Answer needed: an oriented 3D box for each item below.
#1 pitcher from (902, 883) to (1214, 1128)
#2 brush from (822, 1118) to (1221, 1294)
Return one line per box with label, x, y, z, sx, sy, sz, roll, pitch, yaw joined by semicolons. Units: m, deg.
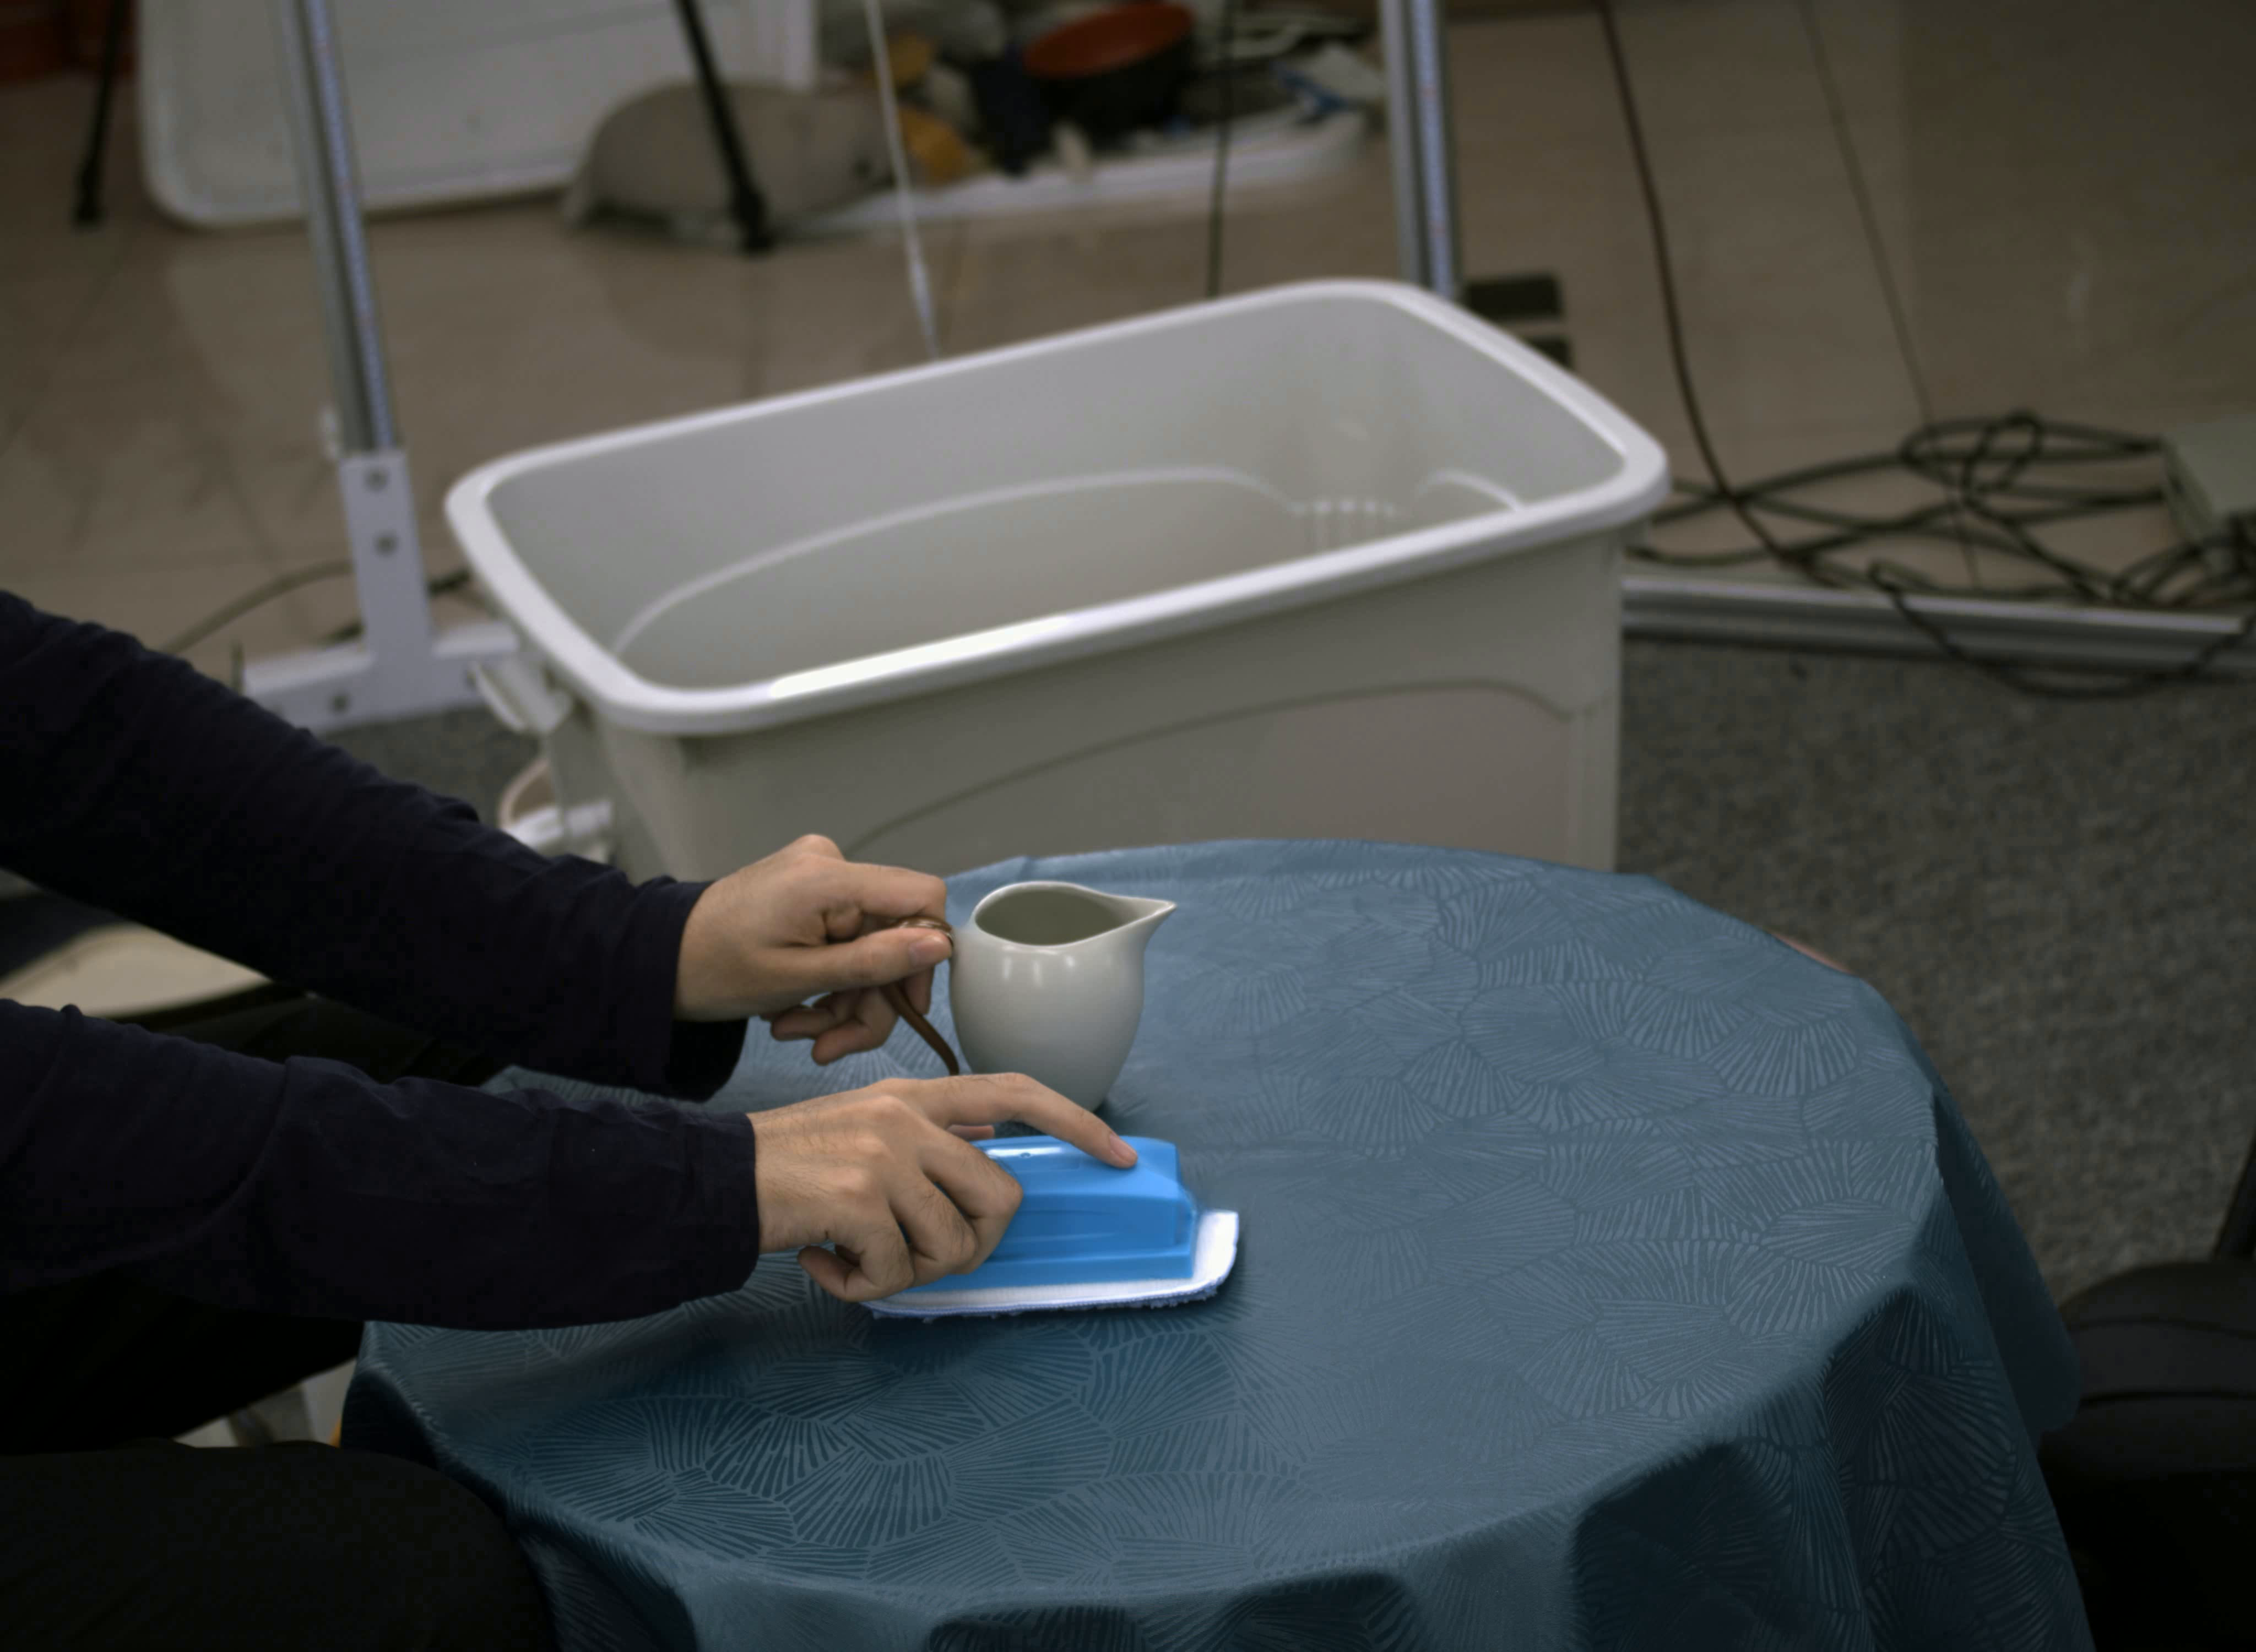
pitcher;-0.030;0.068;2.198;0.119;0.089;0.075;8;26;2
brush;-0.039;0.138;2.086;0.143;0.057;0.083;0;23;7
